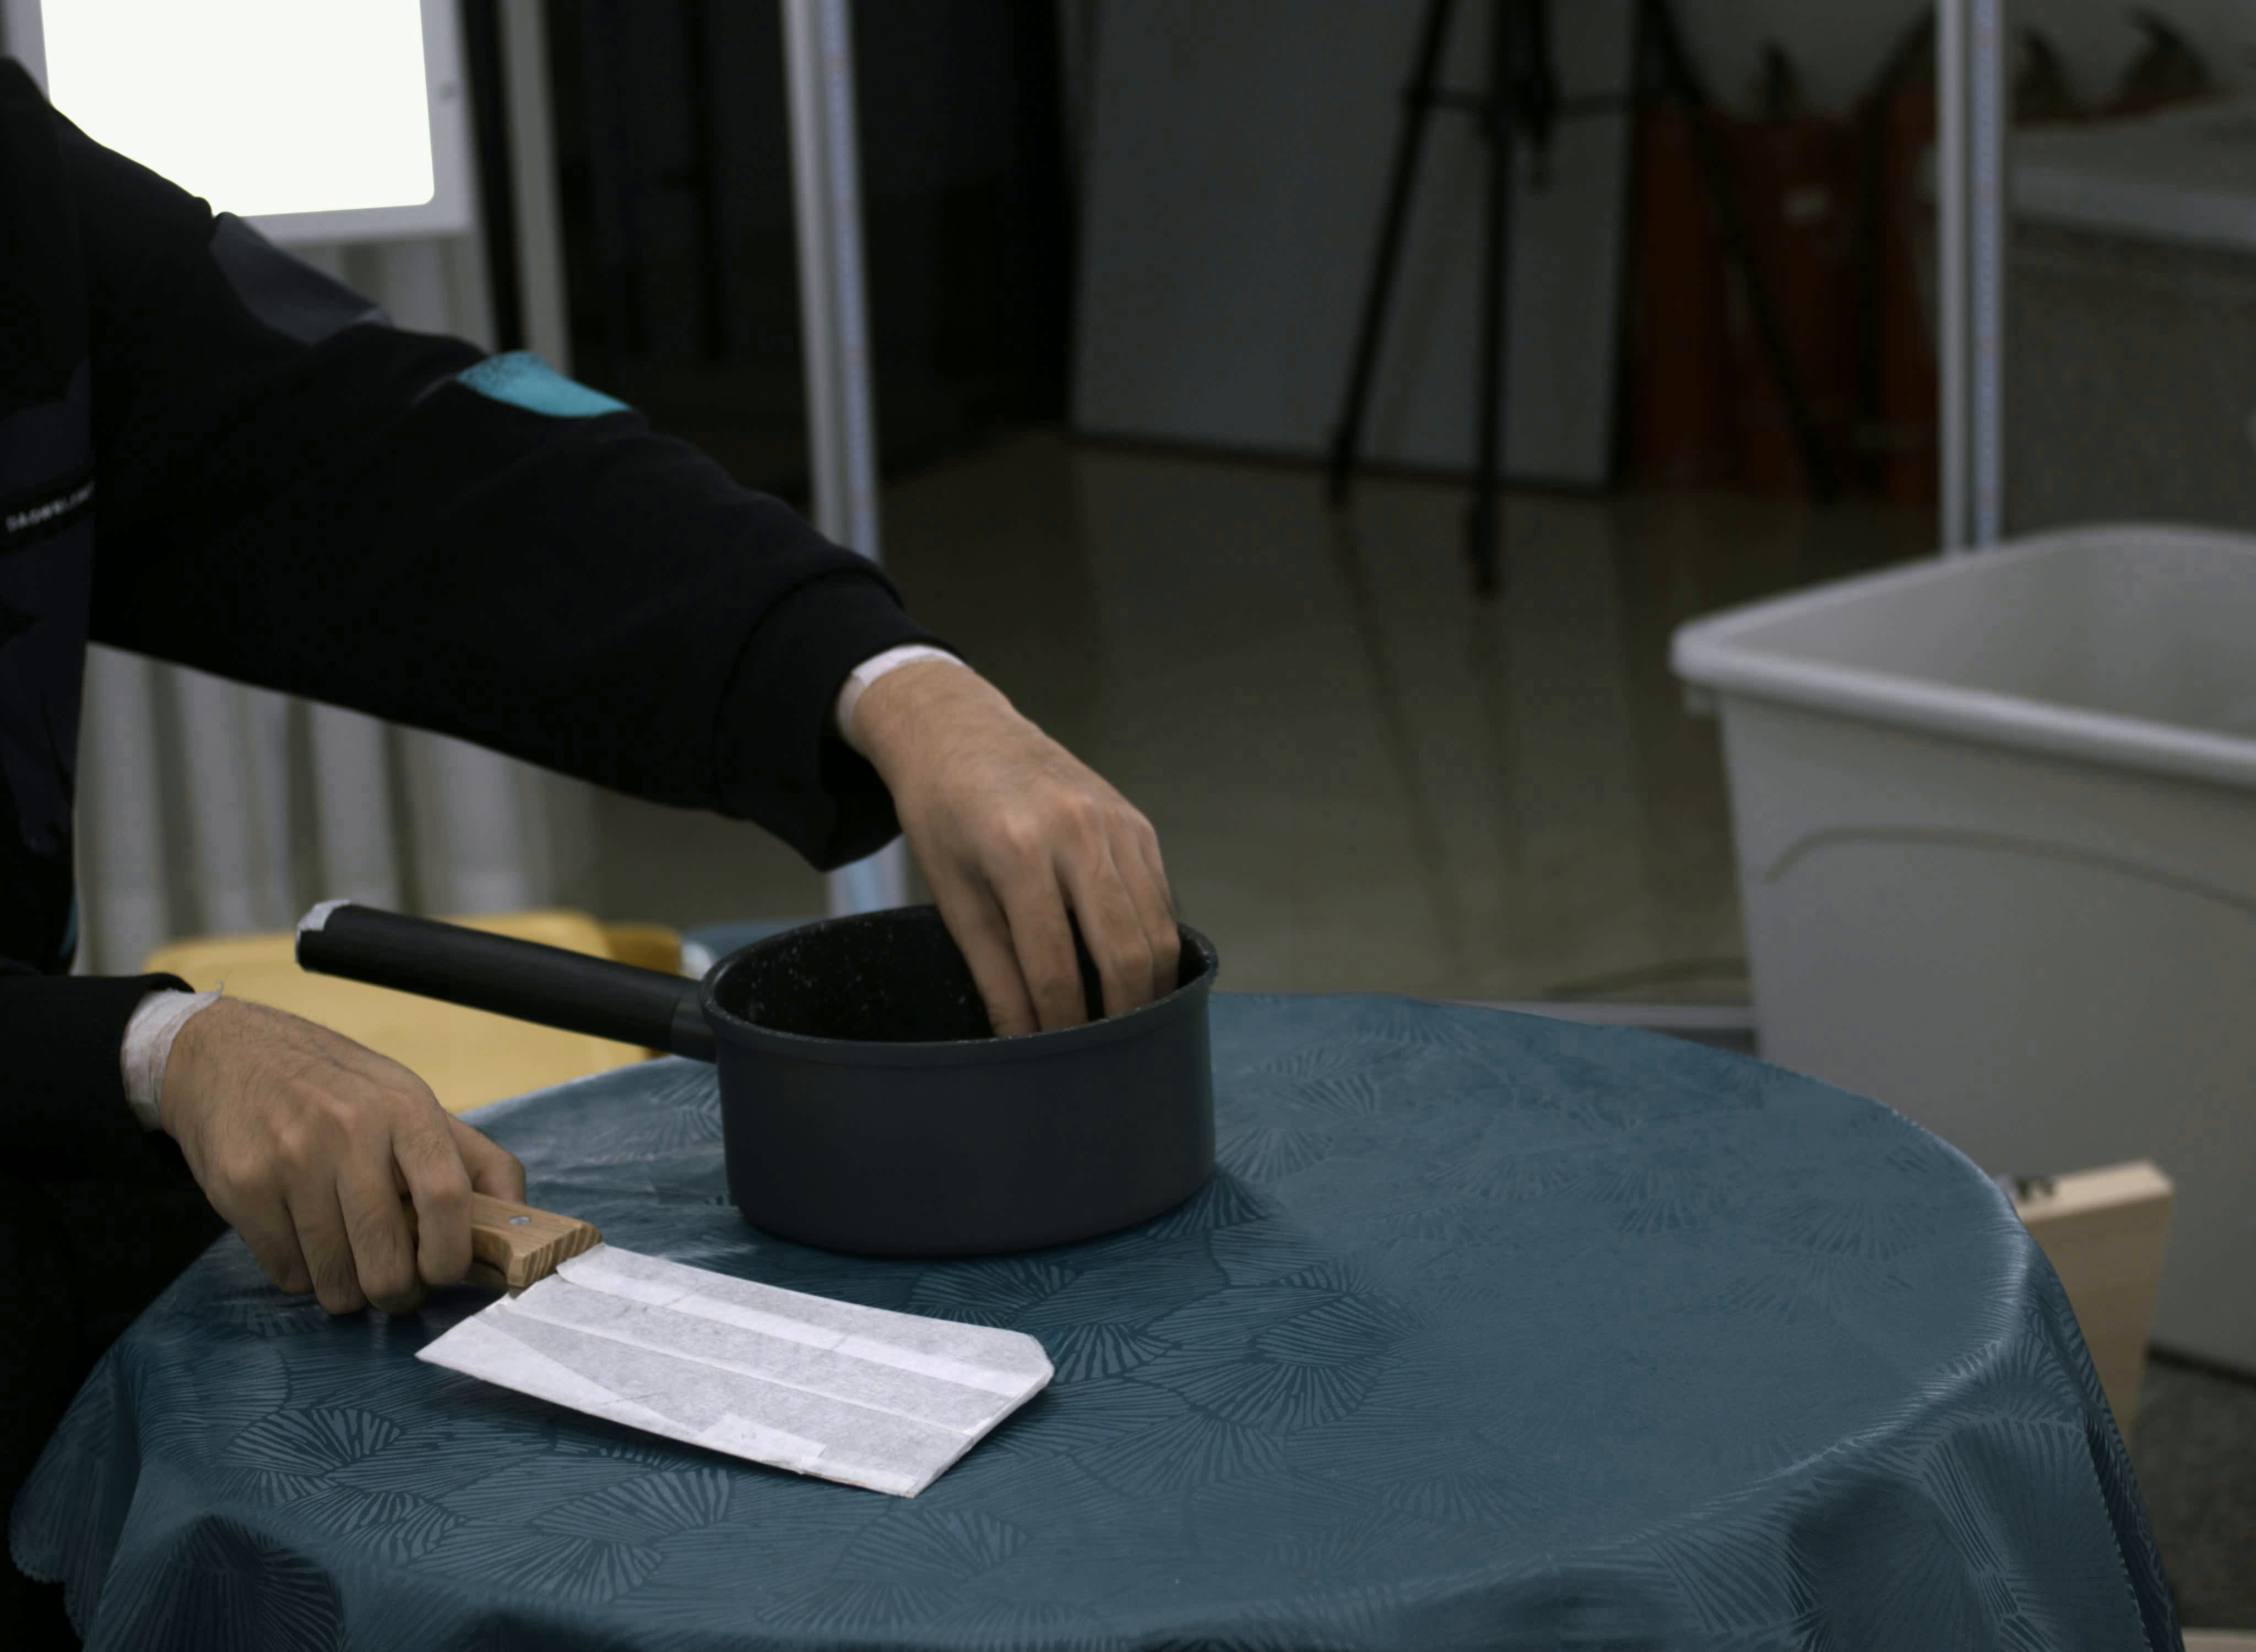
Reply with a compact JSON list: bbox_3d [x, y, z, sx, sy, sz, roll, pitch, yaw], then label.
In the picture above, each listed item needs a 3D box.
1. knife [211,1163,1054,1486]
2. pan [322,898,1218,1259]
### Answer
[{"bbox_3d":[-0.159,0.147,1.640,0.317,0.022,0.112,12,26,37],"label":"knife"},{"bbox_3d":[-0.124,0.077,1.810,0.329,0.087,0.170,3,13,25],"label":"pan"}]
